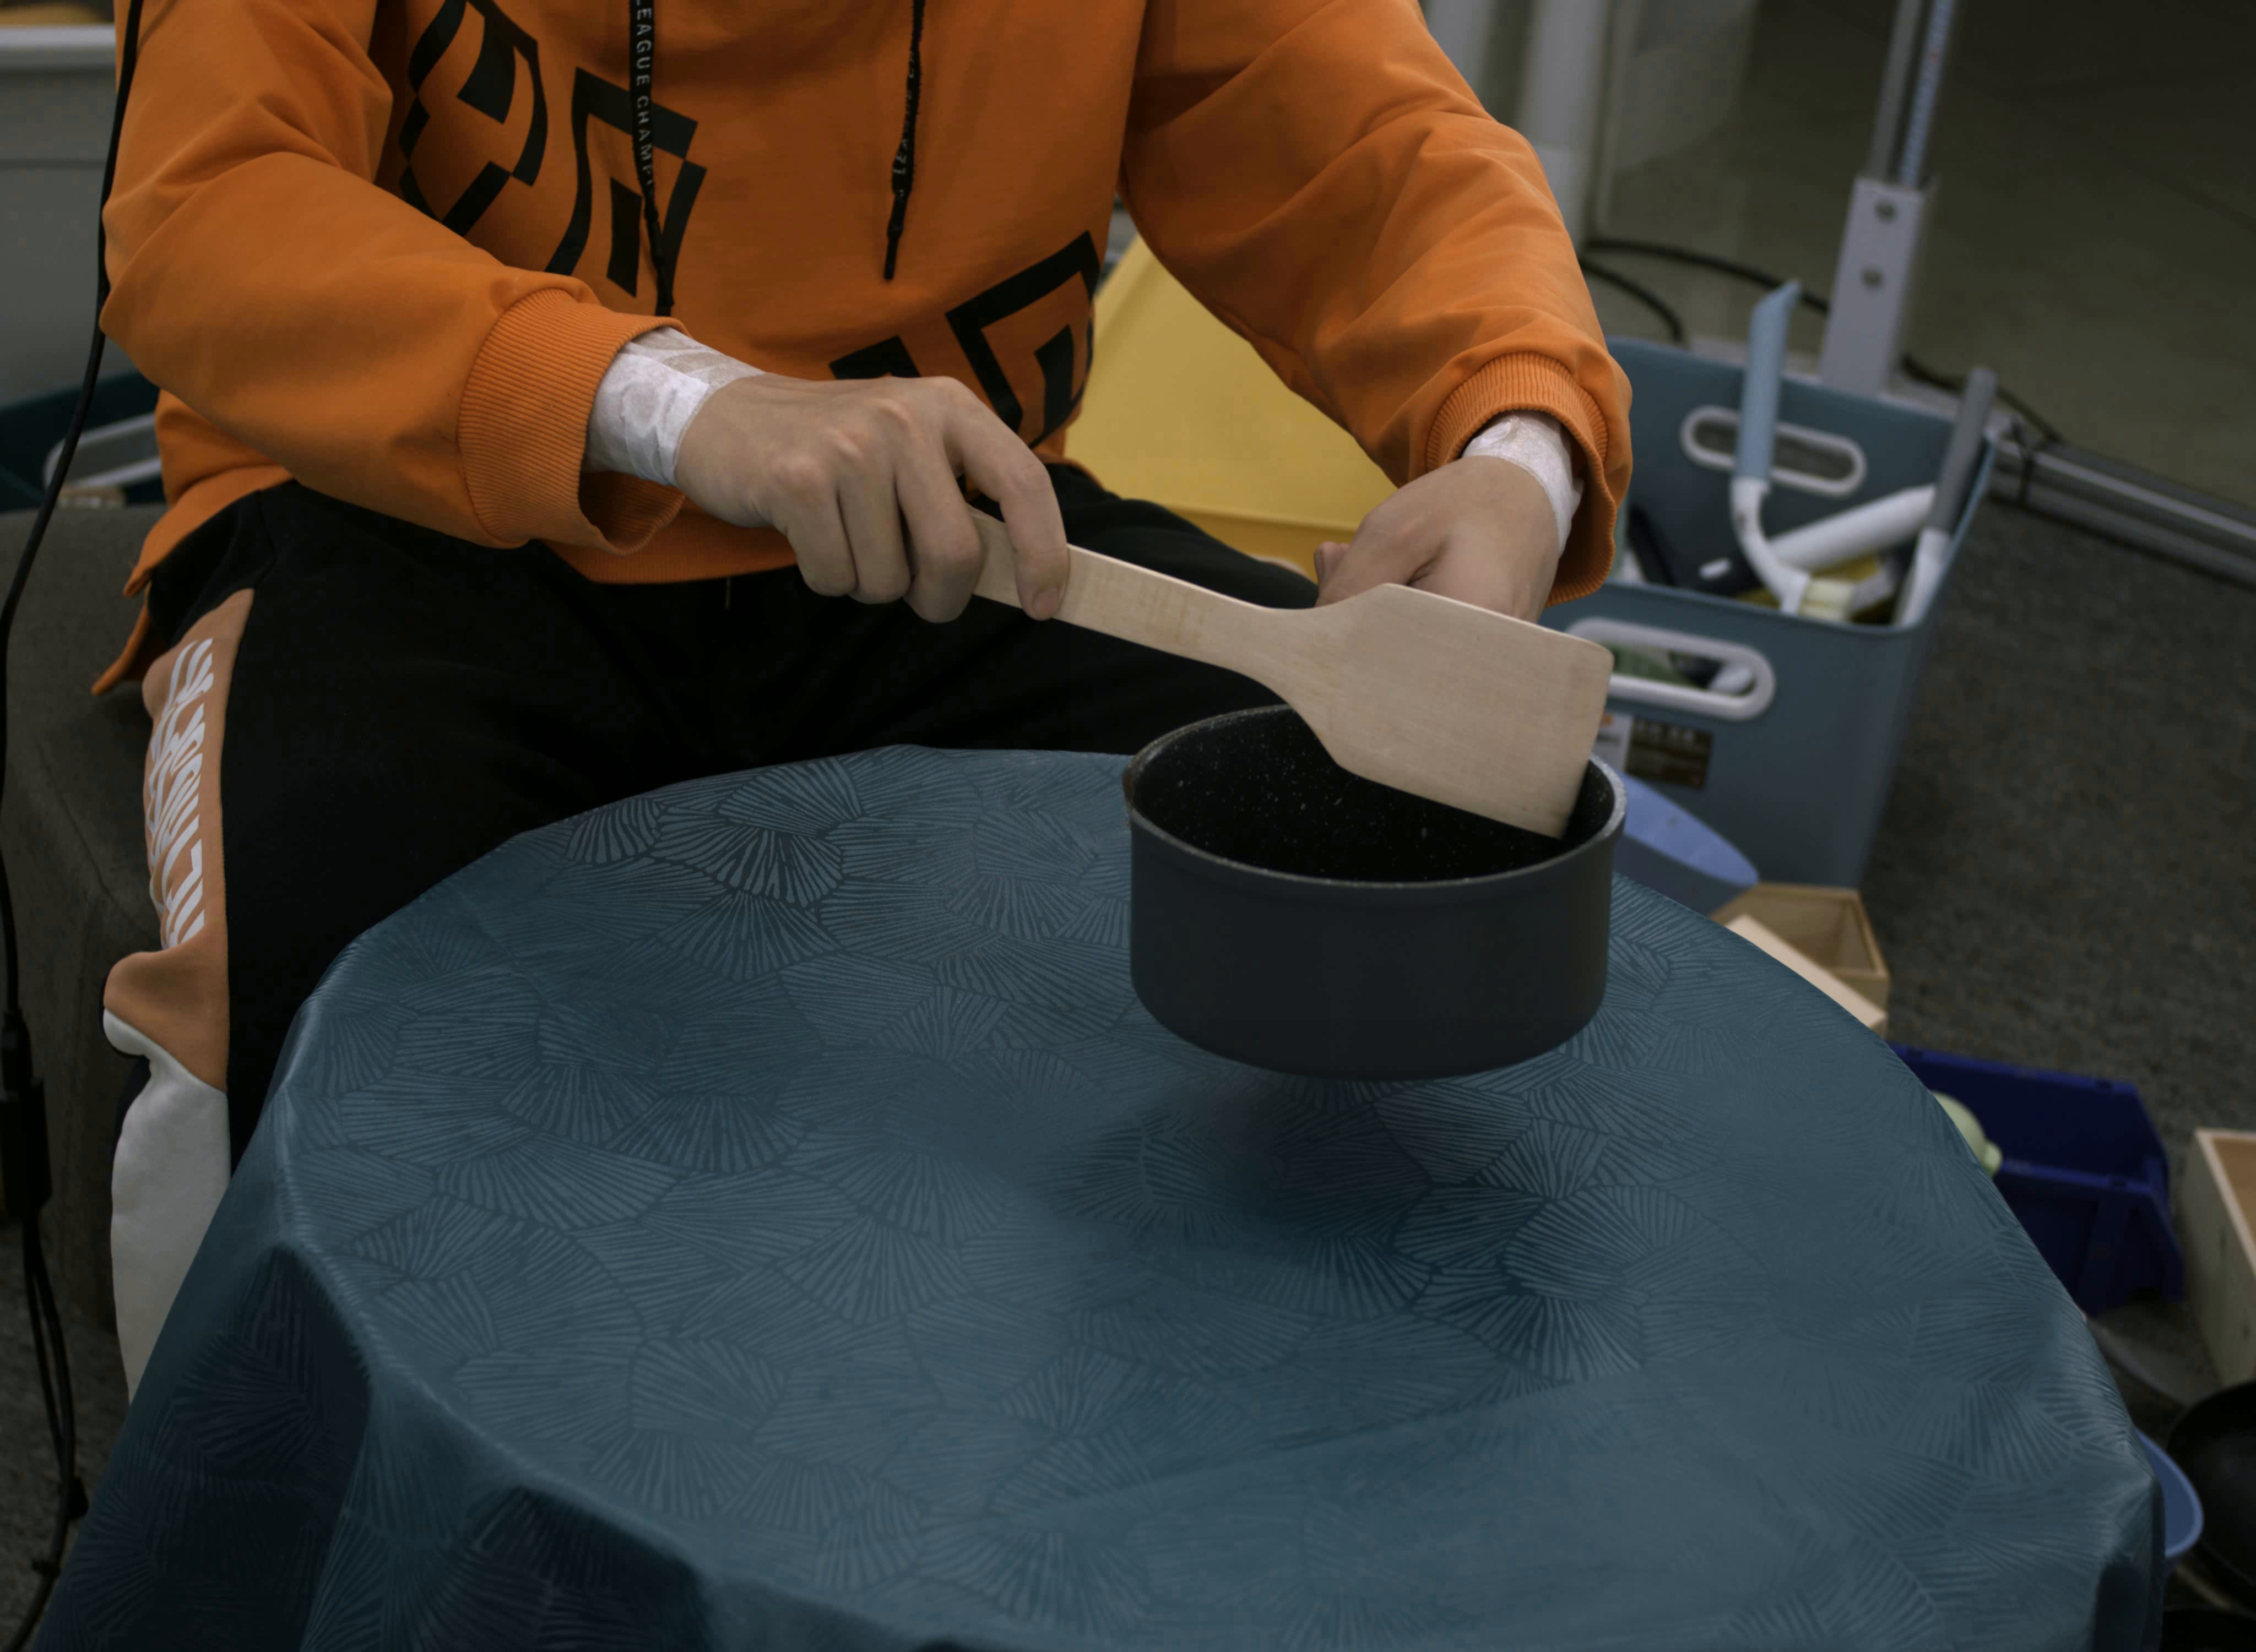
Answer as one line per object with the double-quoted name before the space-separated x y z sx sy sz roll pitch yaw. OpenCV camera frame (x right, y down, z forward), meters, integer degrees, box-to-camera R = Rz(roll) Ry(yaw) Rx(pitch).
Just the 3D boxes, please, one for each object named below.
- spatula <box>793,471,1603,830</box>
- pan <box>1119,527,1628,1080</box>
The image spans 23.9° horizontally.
"spatula" 0.019 -0.072 1.843 0.293 0.072 0.010 18 16 13
"pan" 0.092 -0.011 1.876 0.172 0.086 0.330 5 23 7
